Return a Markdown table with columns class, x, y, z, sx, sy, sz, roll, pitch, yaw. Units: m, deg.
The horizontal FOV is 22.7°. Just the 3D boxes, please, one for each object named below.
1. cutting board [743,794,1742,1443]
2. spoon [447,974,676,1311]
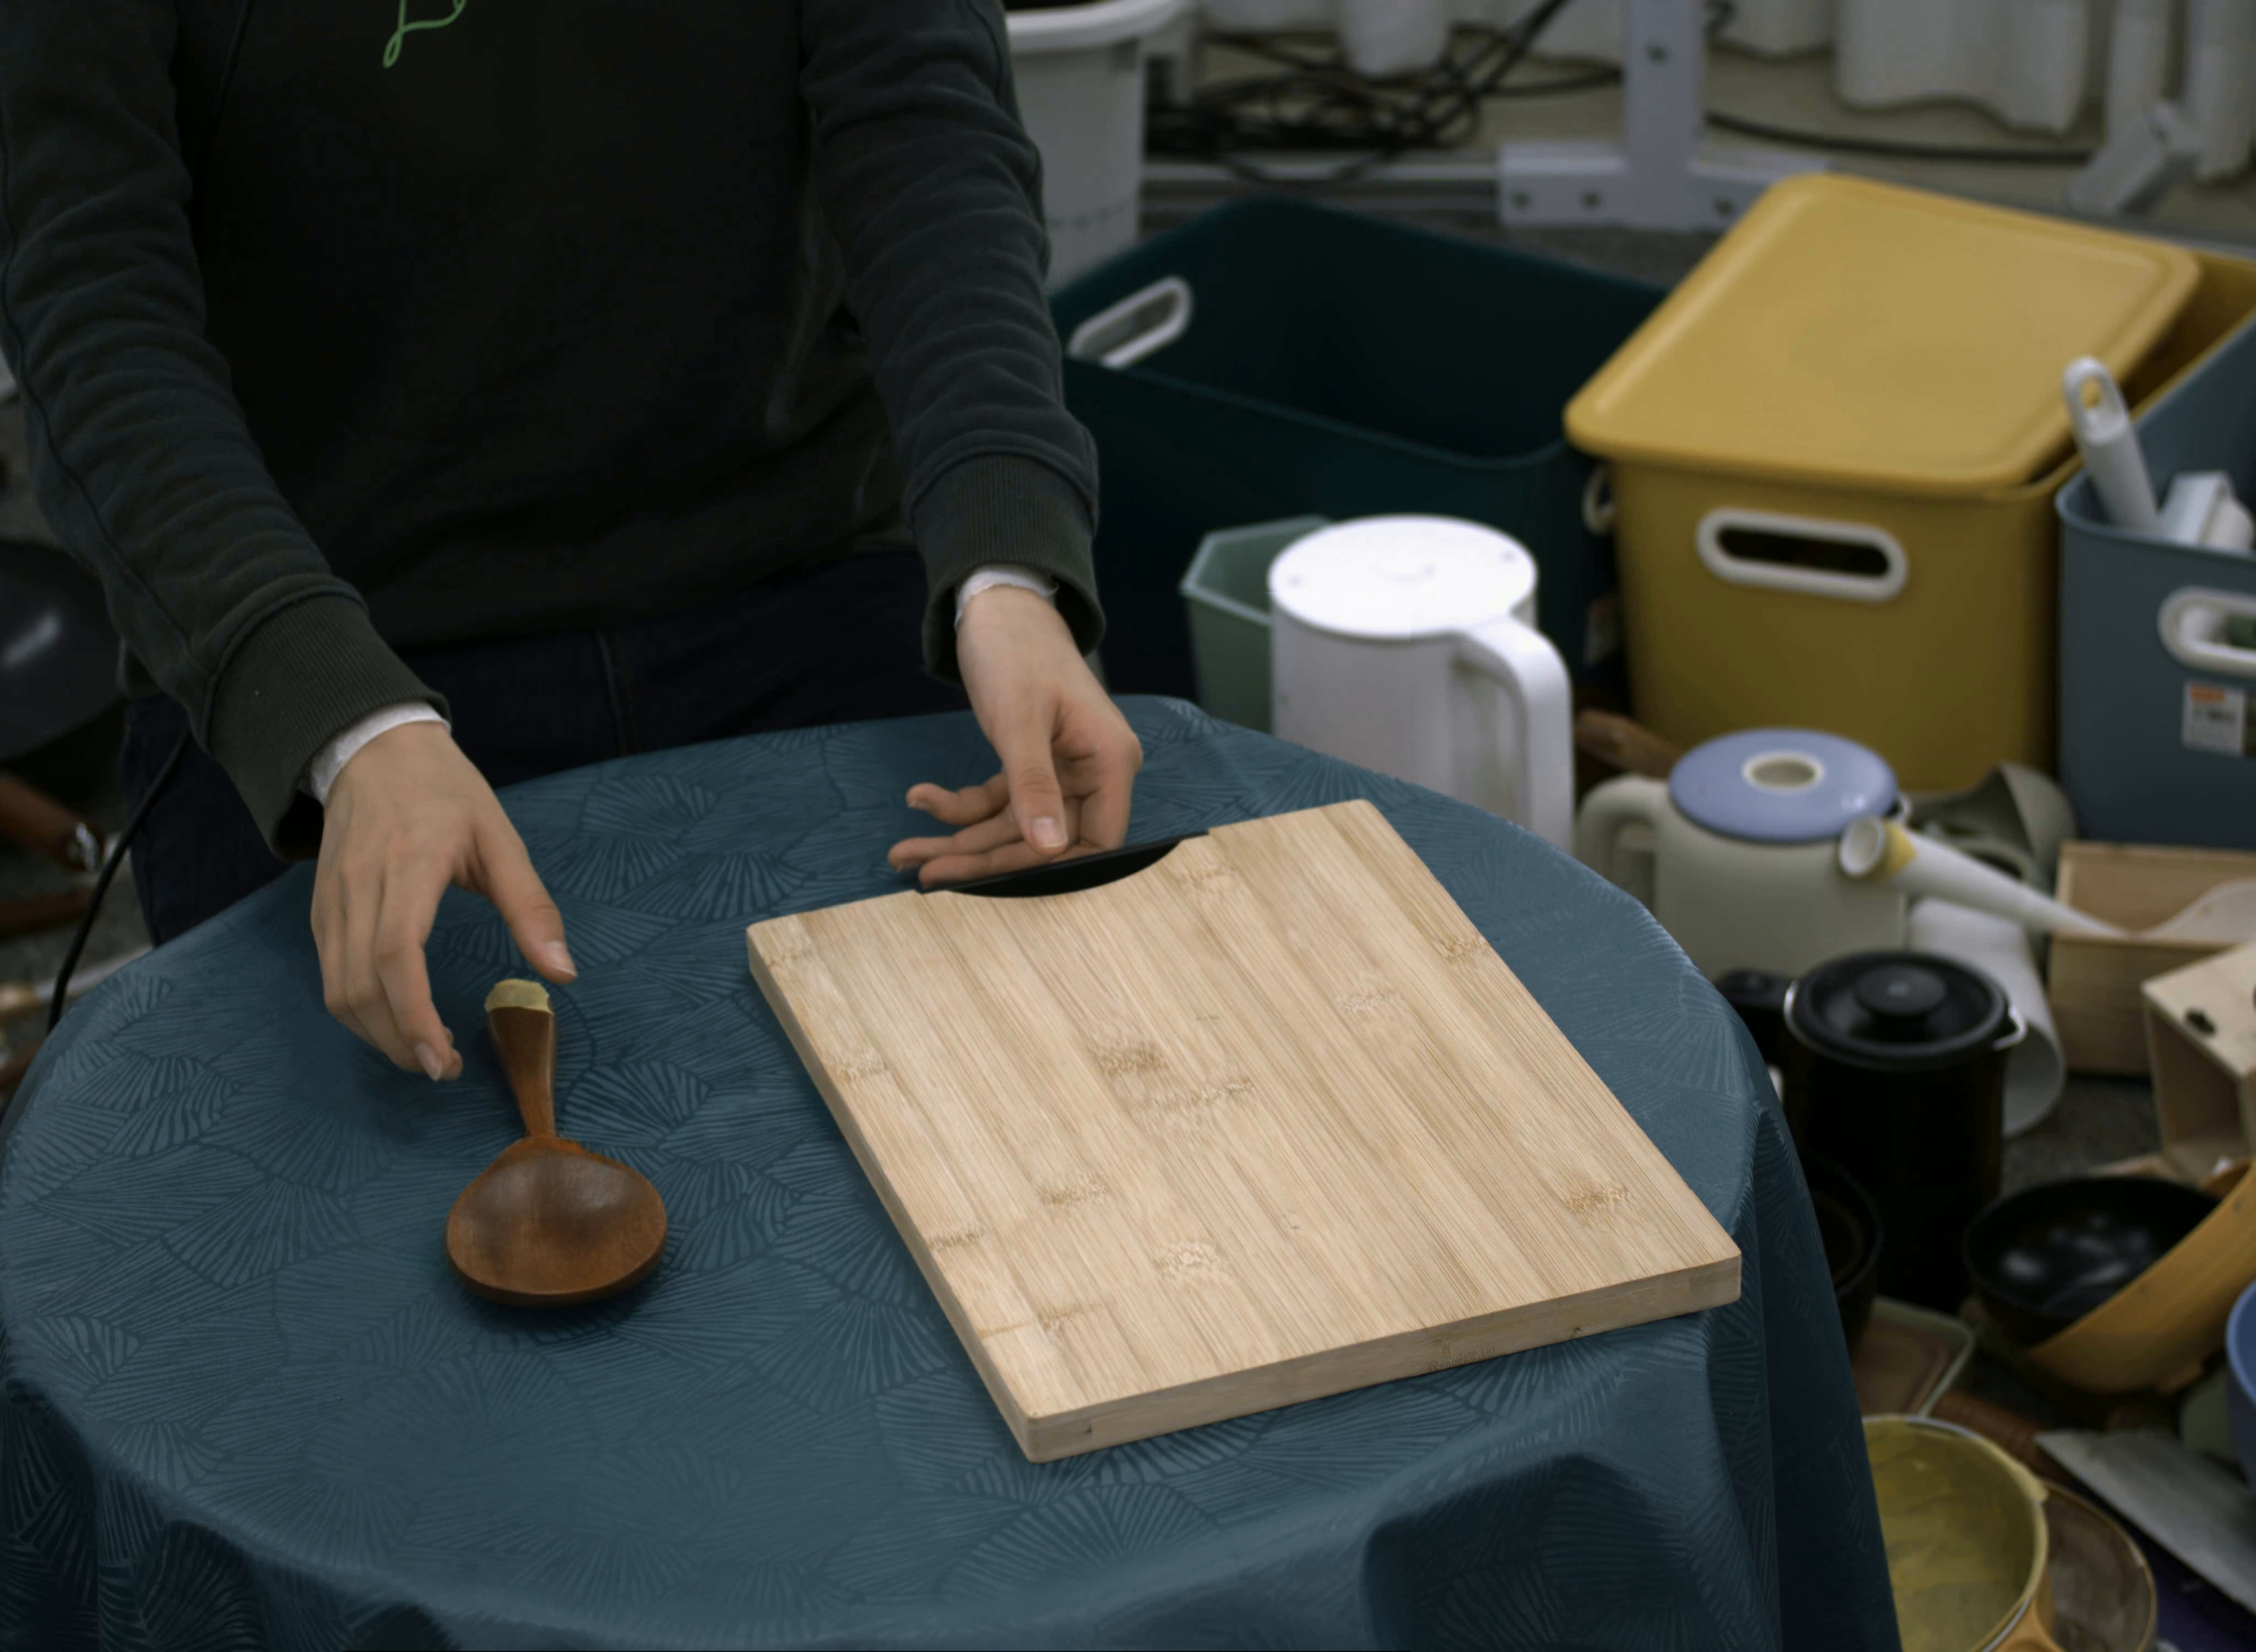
| class | x | y | z | sx | sy | sz | roll | pitch | yaw |
| --- | --- | --- | --- | --- | --- | --- | --- | --- | --- |
| cutting board | 0.028 | 0.091 | 1.900 | 0.251 | 0.023 | 0.351 | -11 | 28 | -16 |
| spoon | -0.196 | 0.107 | 1.889 | 0.075 | 0.017 | 0.218 | -9 | 28 | -7 |
